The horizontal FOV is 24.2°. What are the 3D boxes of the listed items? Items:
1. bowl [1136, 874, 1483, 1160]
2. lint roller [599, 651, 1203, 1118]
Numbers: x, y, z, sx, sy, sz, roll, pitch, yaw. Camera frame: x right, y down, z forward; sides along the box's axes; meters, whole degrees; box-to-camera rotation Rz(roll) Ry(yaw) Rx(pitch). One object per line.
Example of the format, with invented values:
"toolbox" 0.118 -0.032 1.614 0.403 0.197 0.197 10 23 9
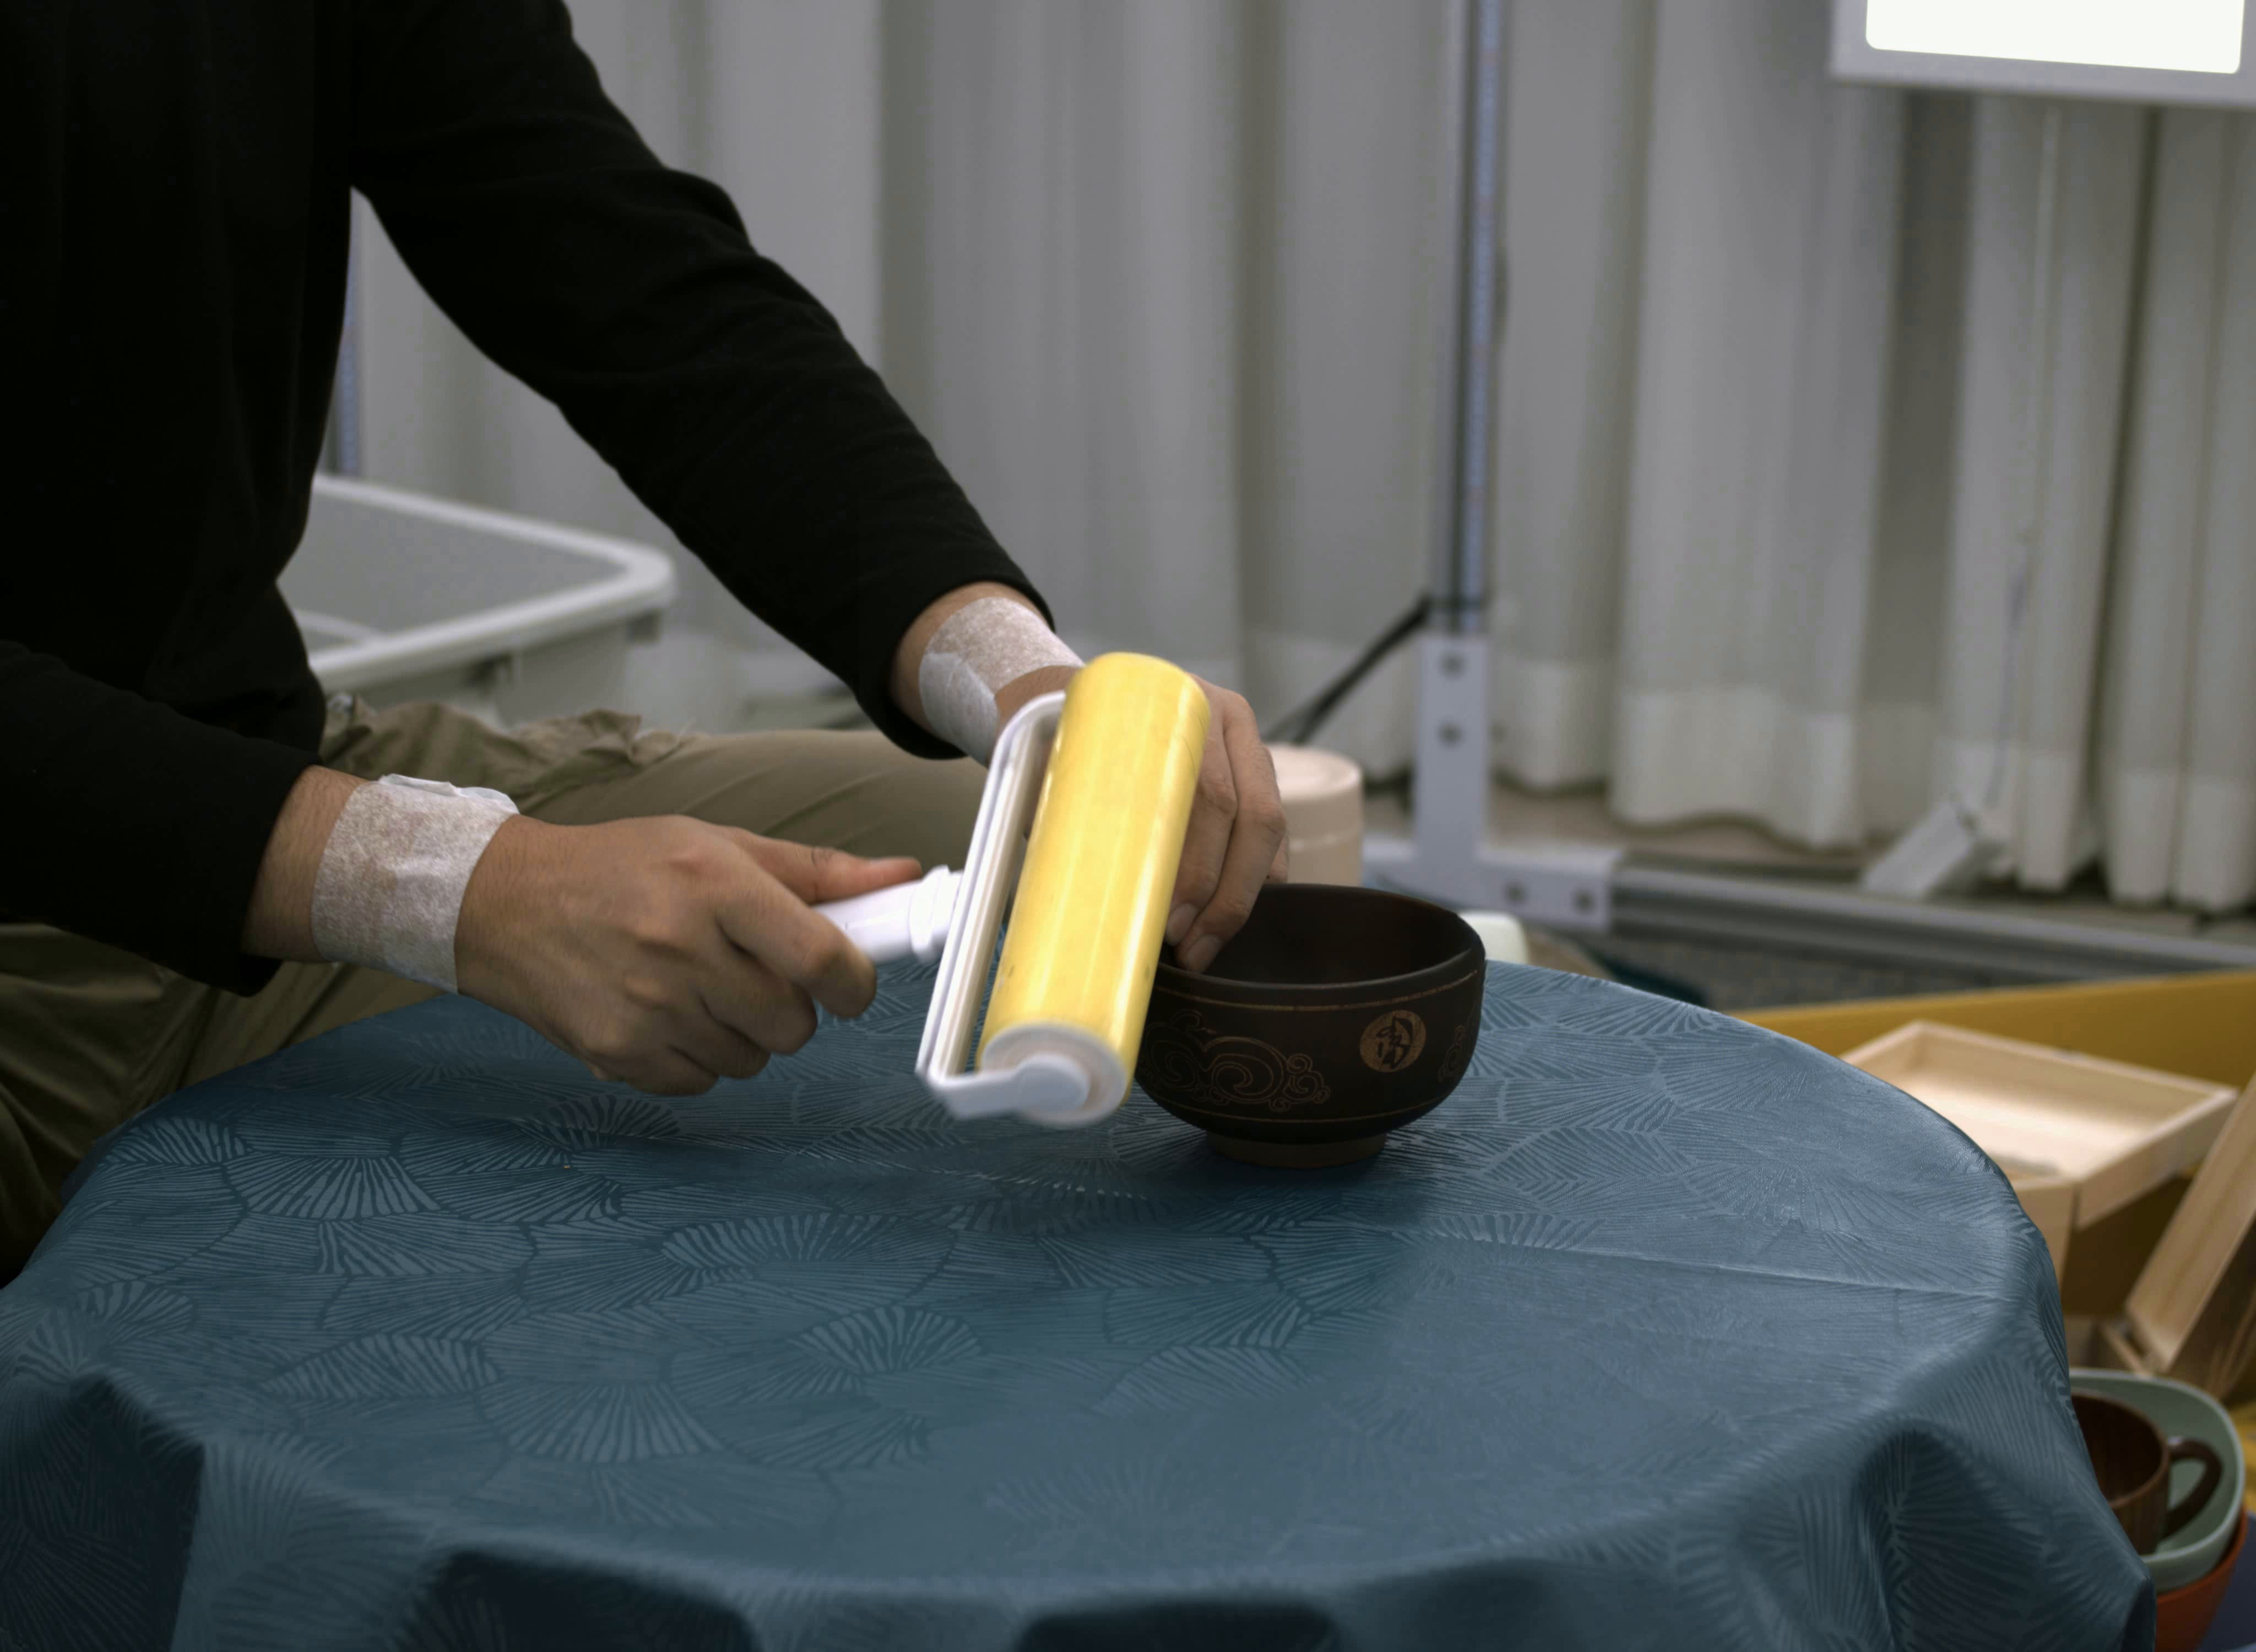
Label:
"bowl" 0.052 0.064 1.658 0.117 0.070 0.117 2 15 0
"lint roller" -0.078 0.023 1.633 0.191 0.052 0.173 -4 43 12
